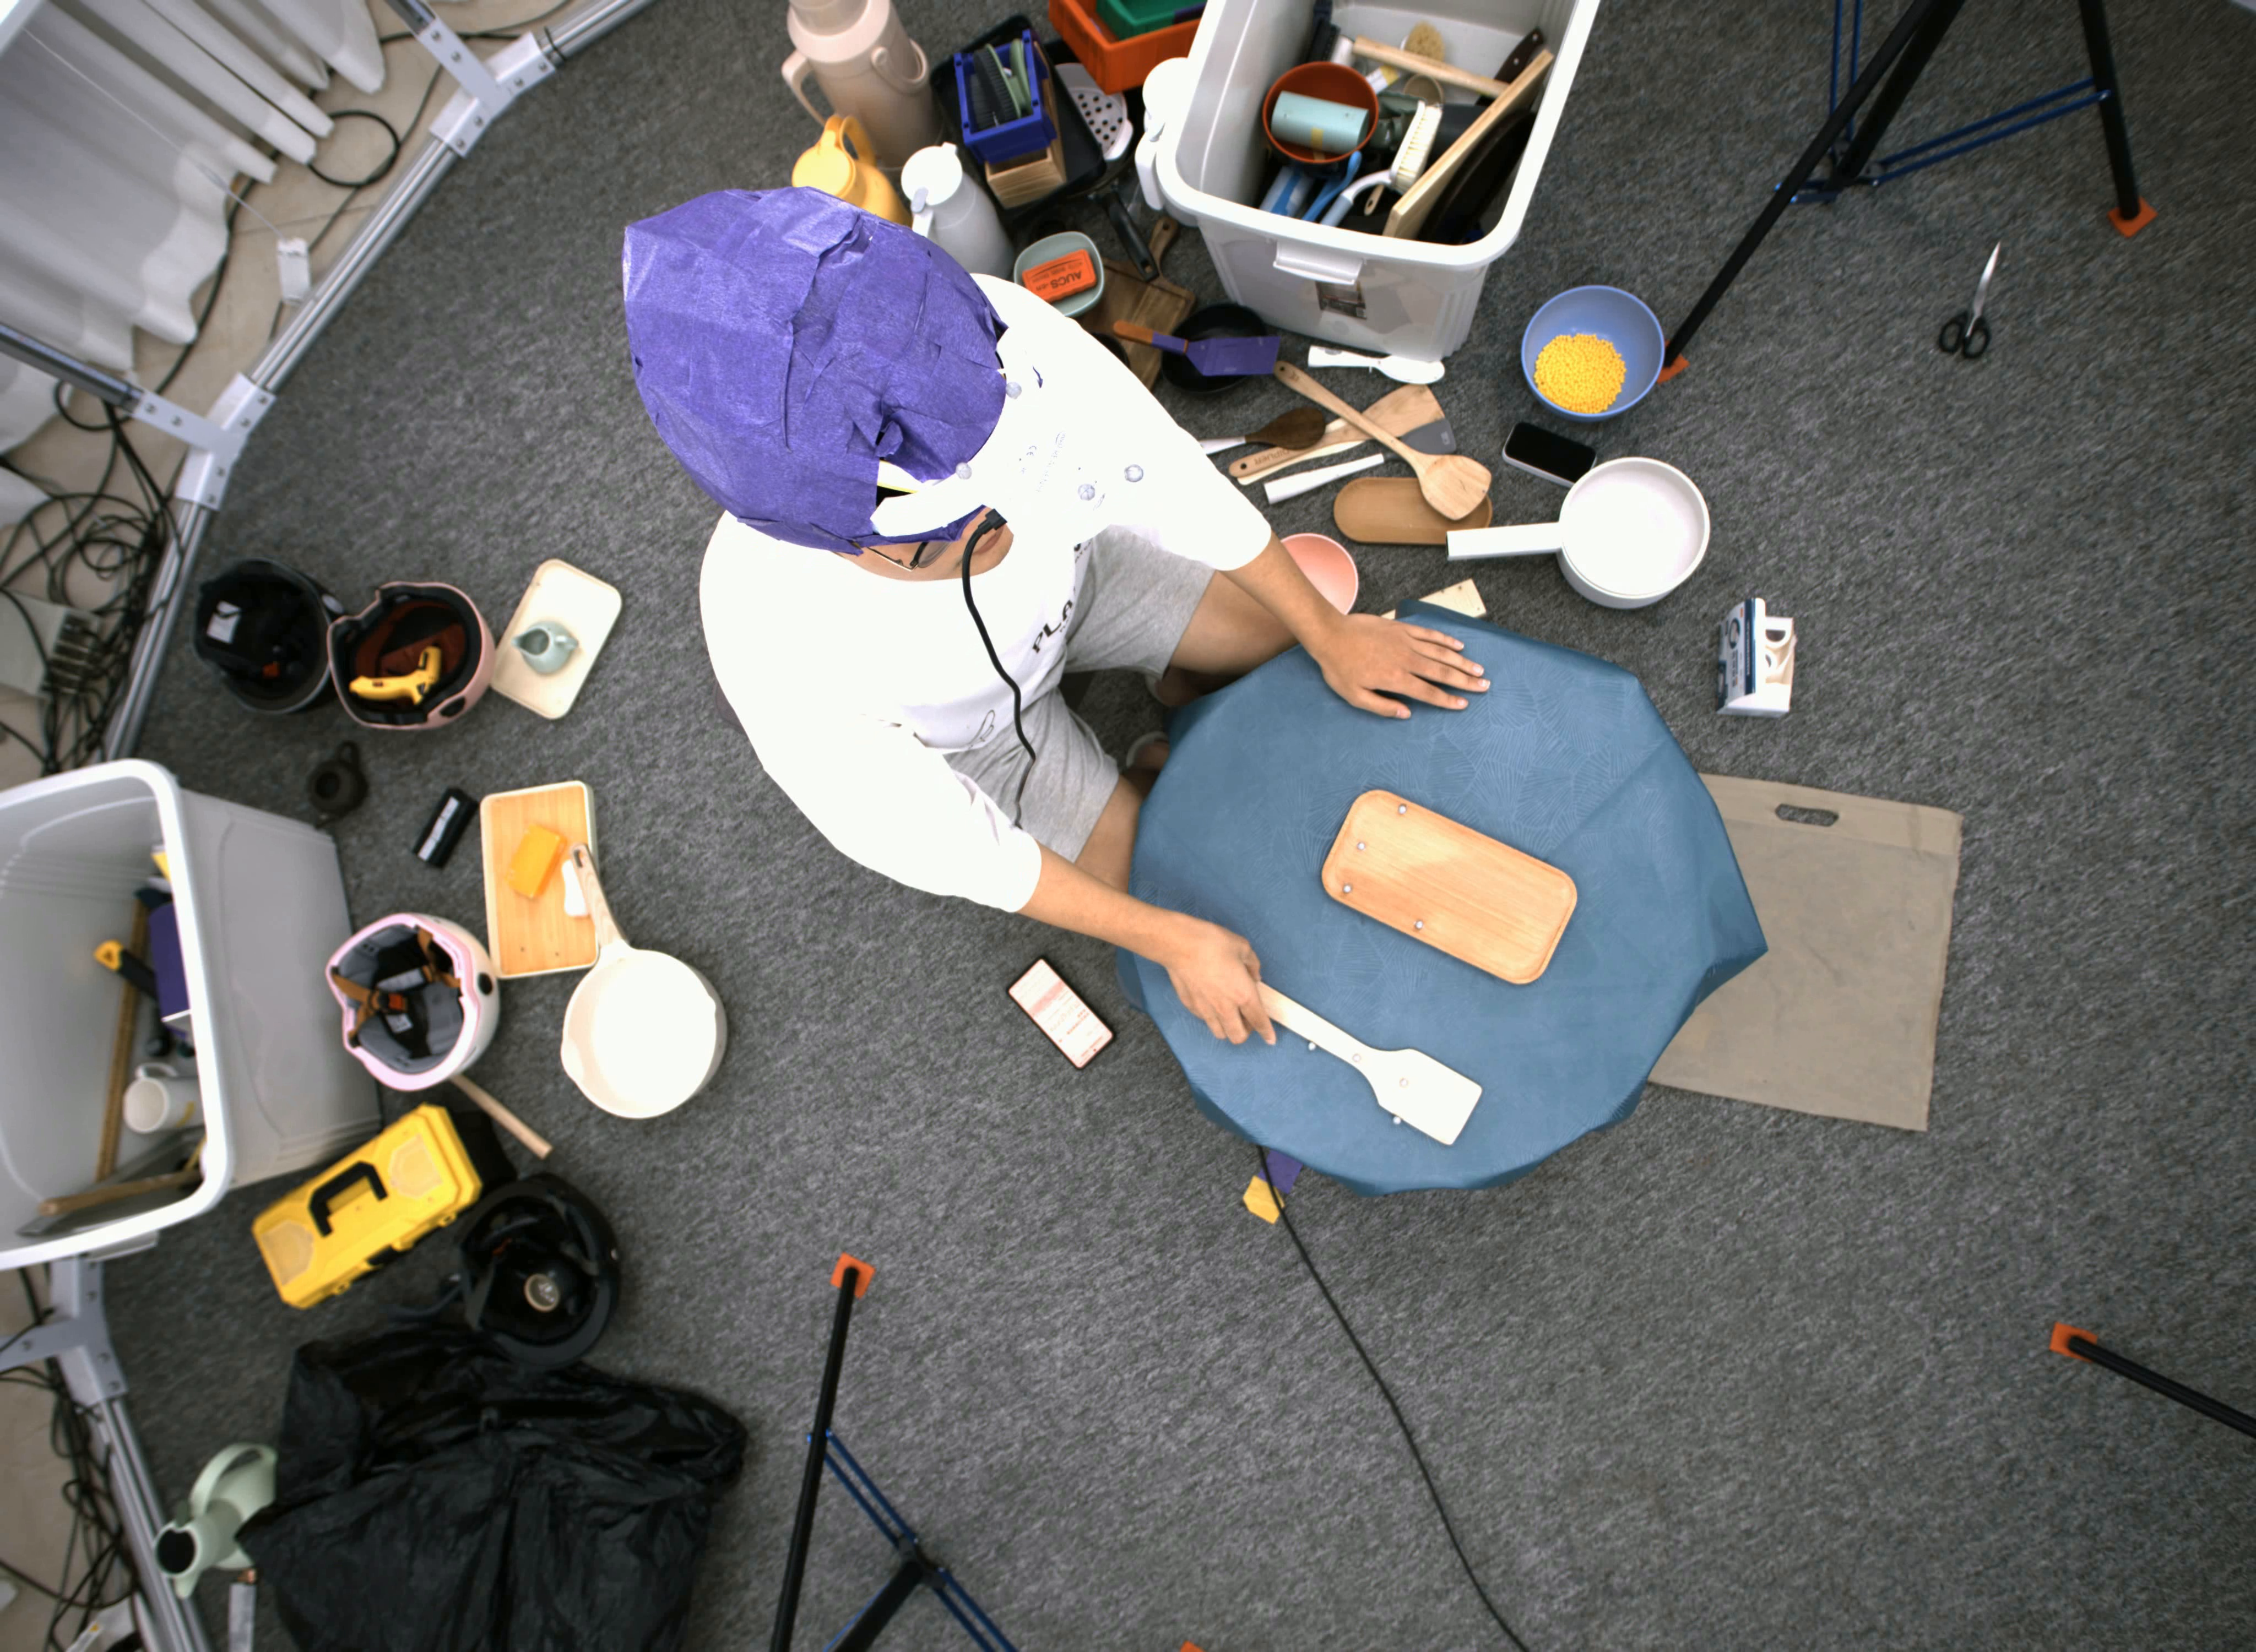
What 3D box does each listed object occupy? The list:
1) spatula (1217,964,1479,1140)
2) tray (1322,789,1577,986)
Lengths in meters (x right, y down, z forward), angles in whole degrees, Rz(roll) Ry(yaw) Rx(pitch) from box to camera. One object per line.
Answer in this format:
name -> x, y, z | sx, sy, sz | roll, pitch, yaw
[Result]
spatula -> 0.222, 0.226, 1.452 | 0.292, 0.011, 0.072 | 29, 88, 11
tray -> 0.334, 0.062, 1.440 | 0.250, 0.023, 0.131 | 27, 94, 11
